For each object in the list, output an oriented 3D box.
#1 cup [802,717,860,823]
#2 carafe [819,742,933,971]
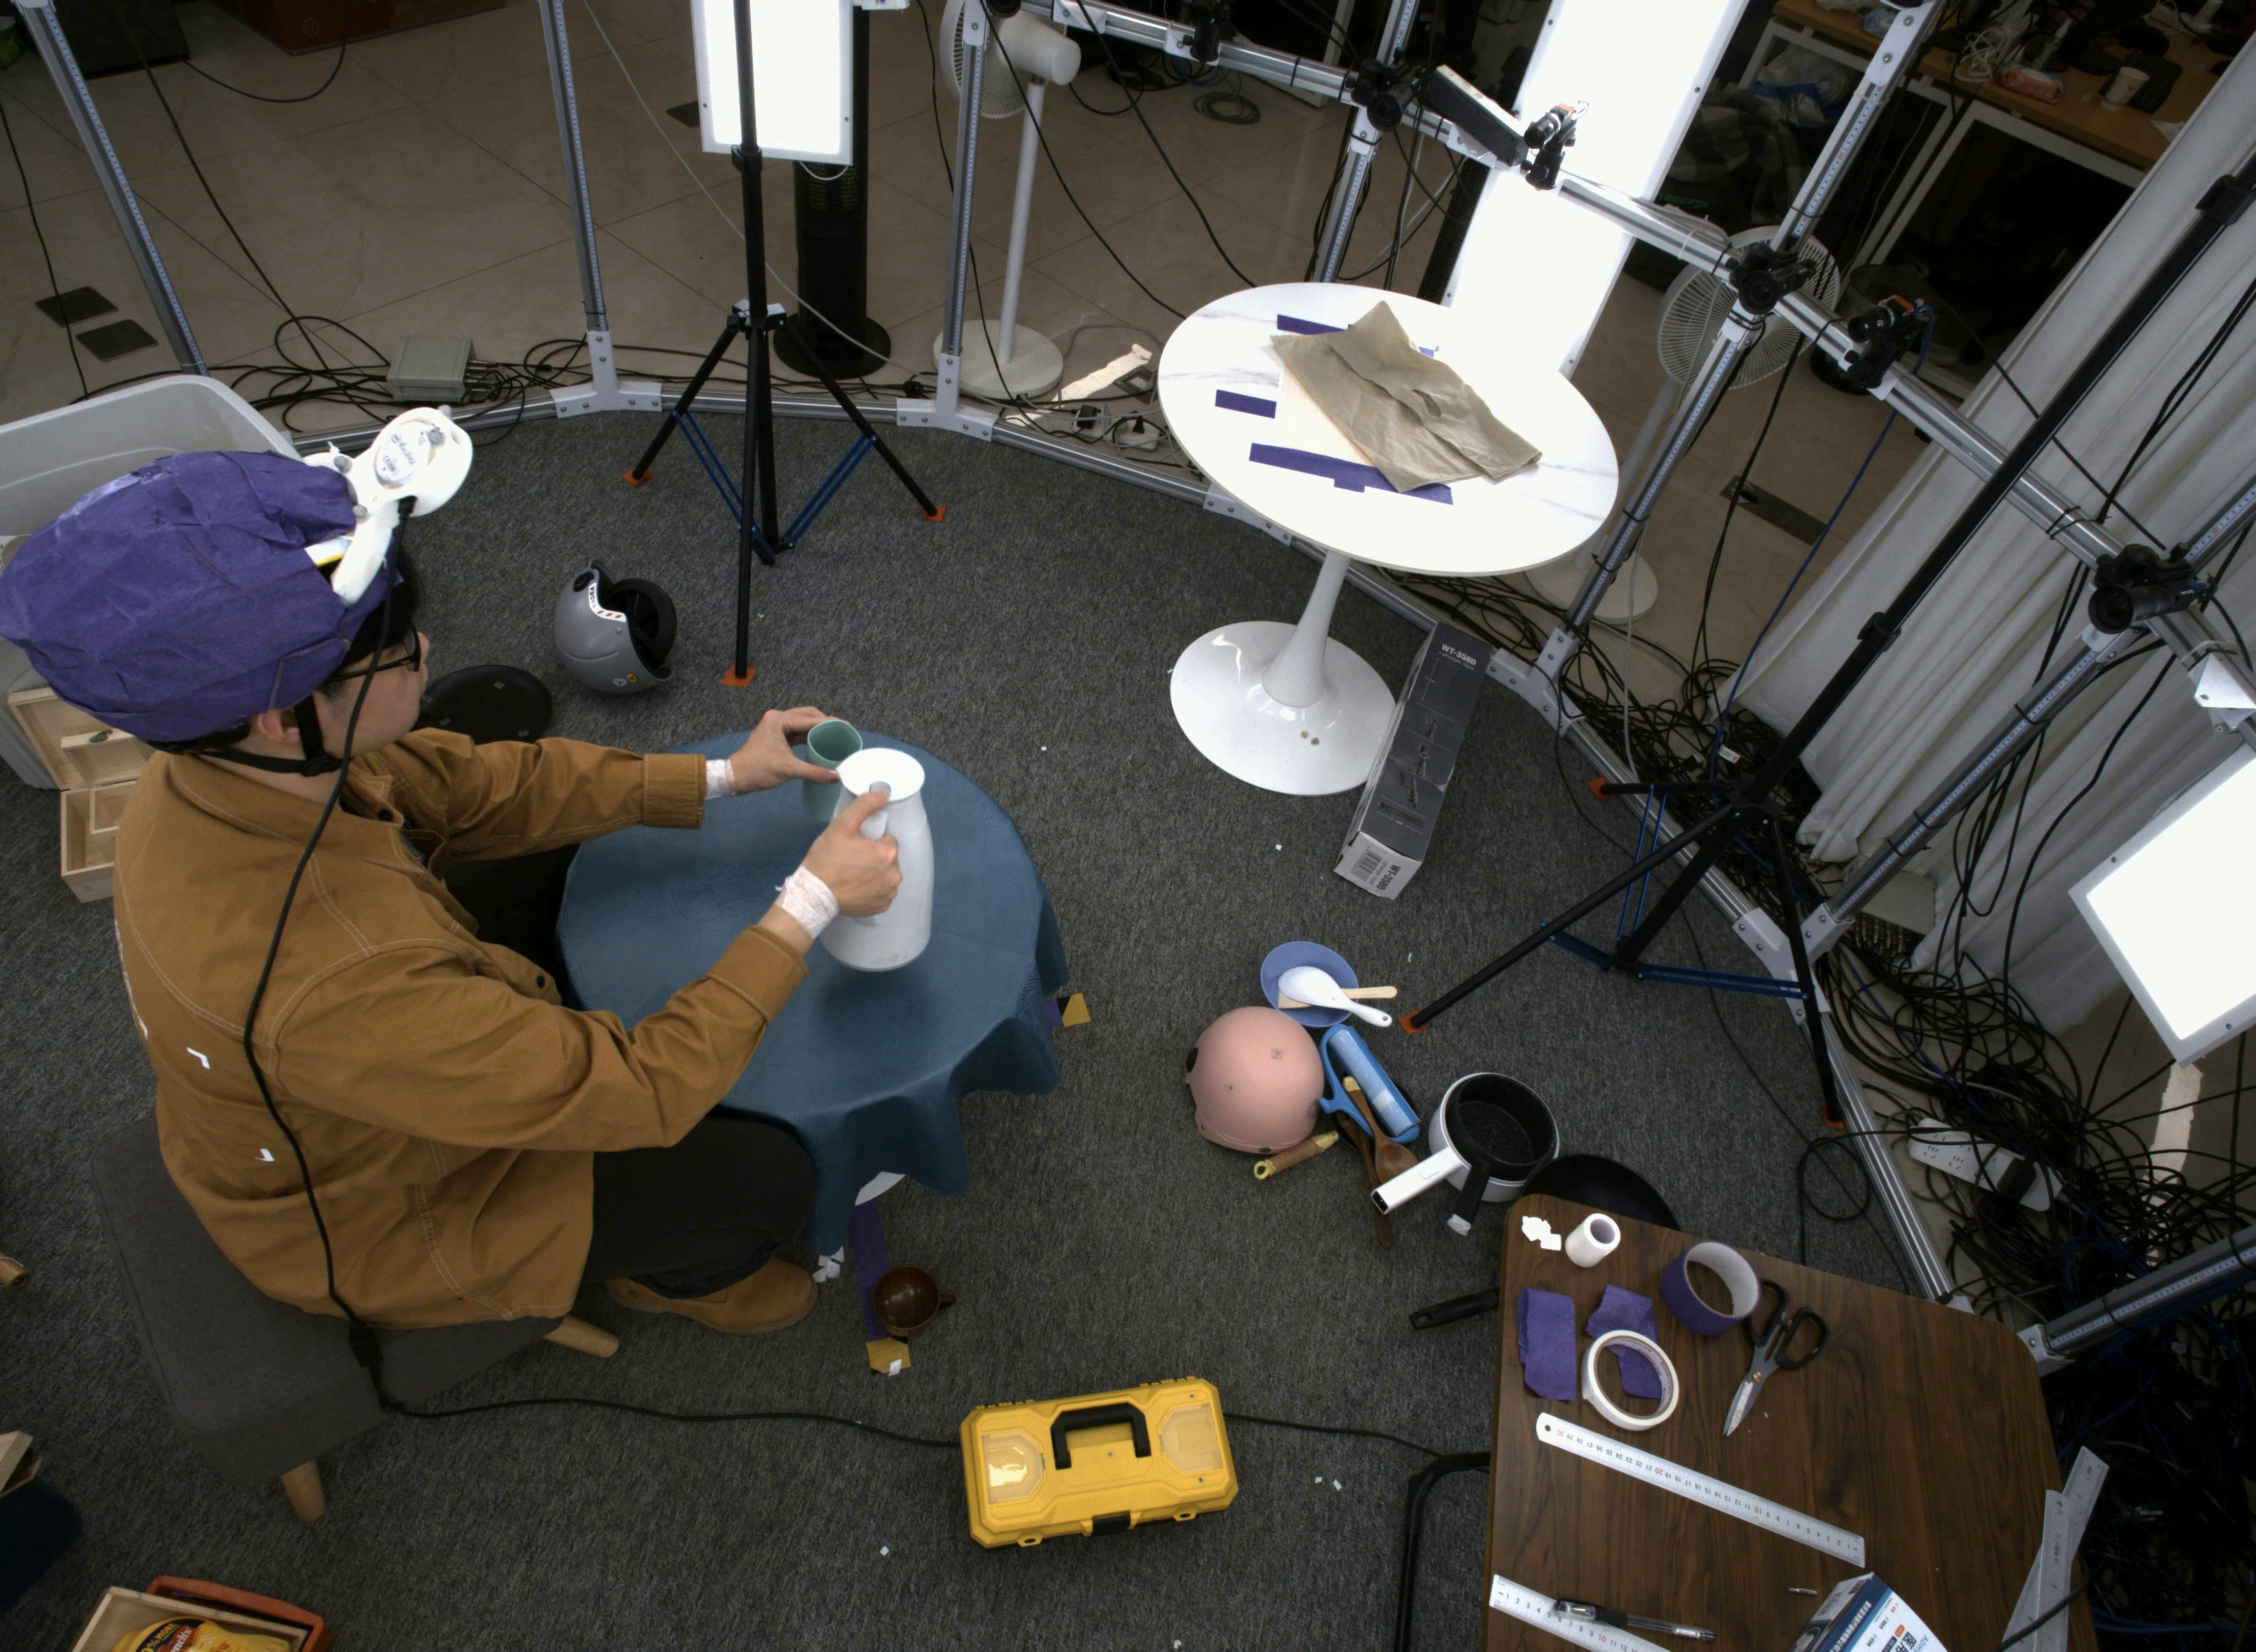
[{"bbox_3d":[-0.378,-0.069,1.634,0.067,0.134,0.065,9,53,-11],"label":"cup"},{"bbox_3d":[-0.283,0.040,1.453,0.132,0.255,0.164,7,40,-6],"label":"carafe"}]
